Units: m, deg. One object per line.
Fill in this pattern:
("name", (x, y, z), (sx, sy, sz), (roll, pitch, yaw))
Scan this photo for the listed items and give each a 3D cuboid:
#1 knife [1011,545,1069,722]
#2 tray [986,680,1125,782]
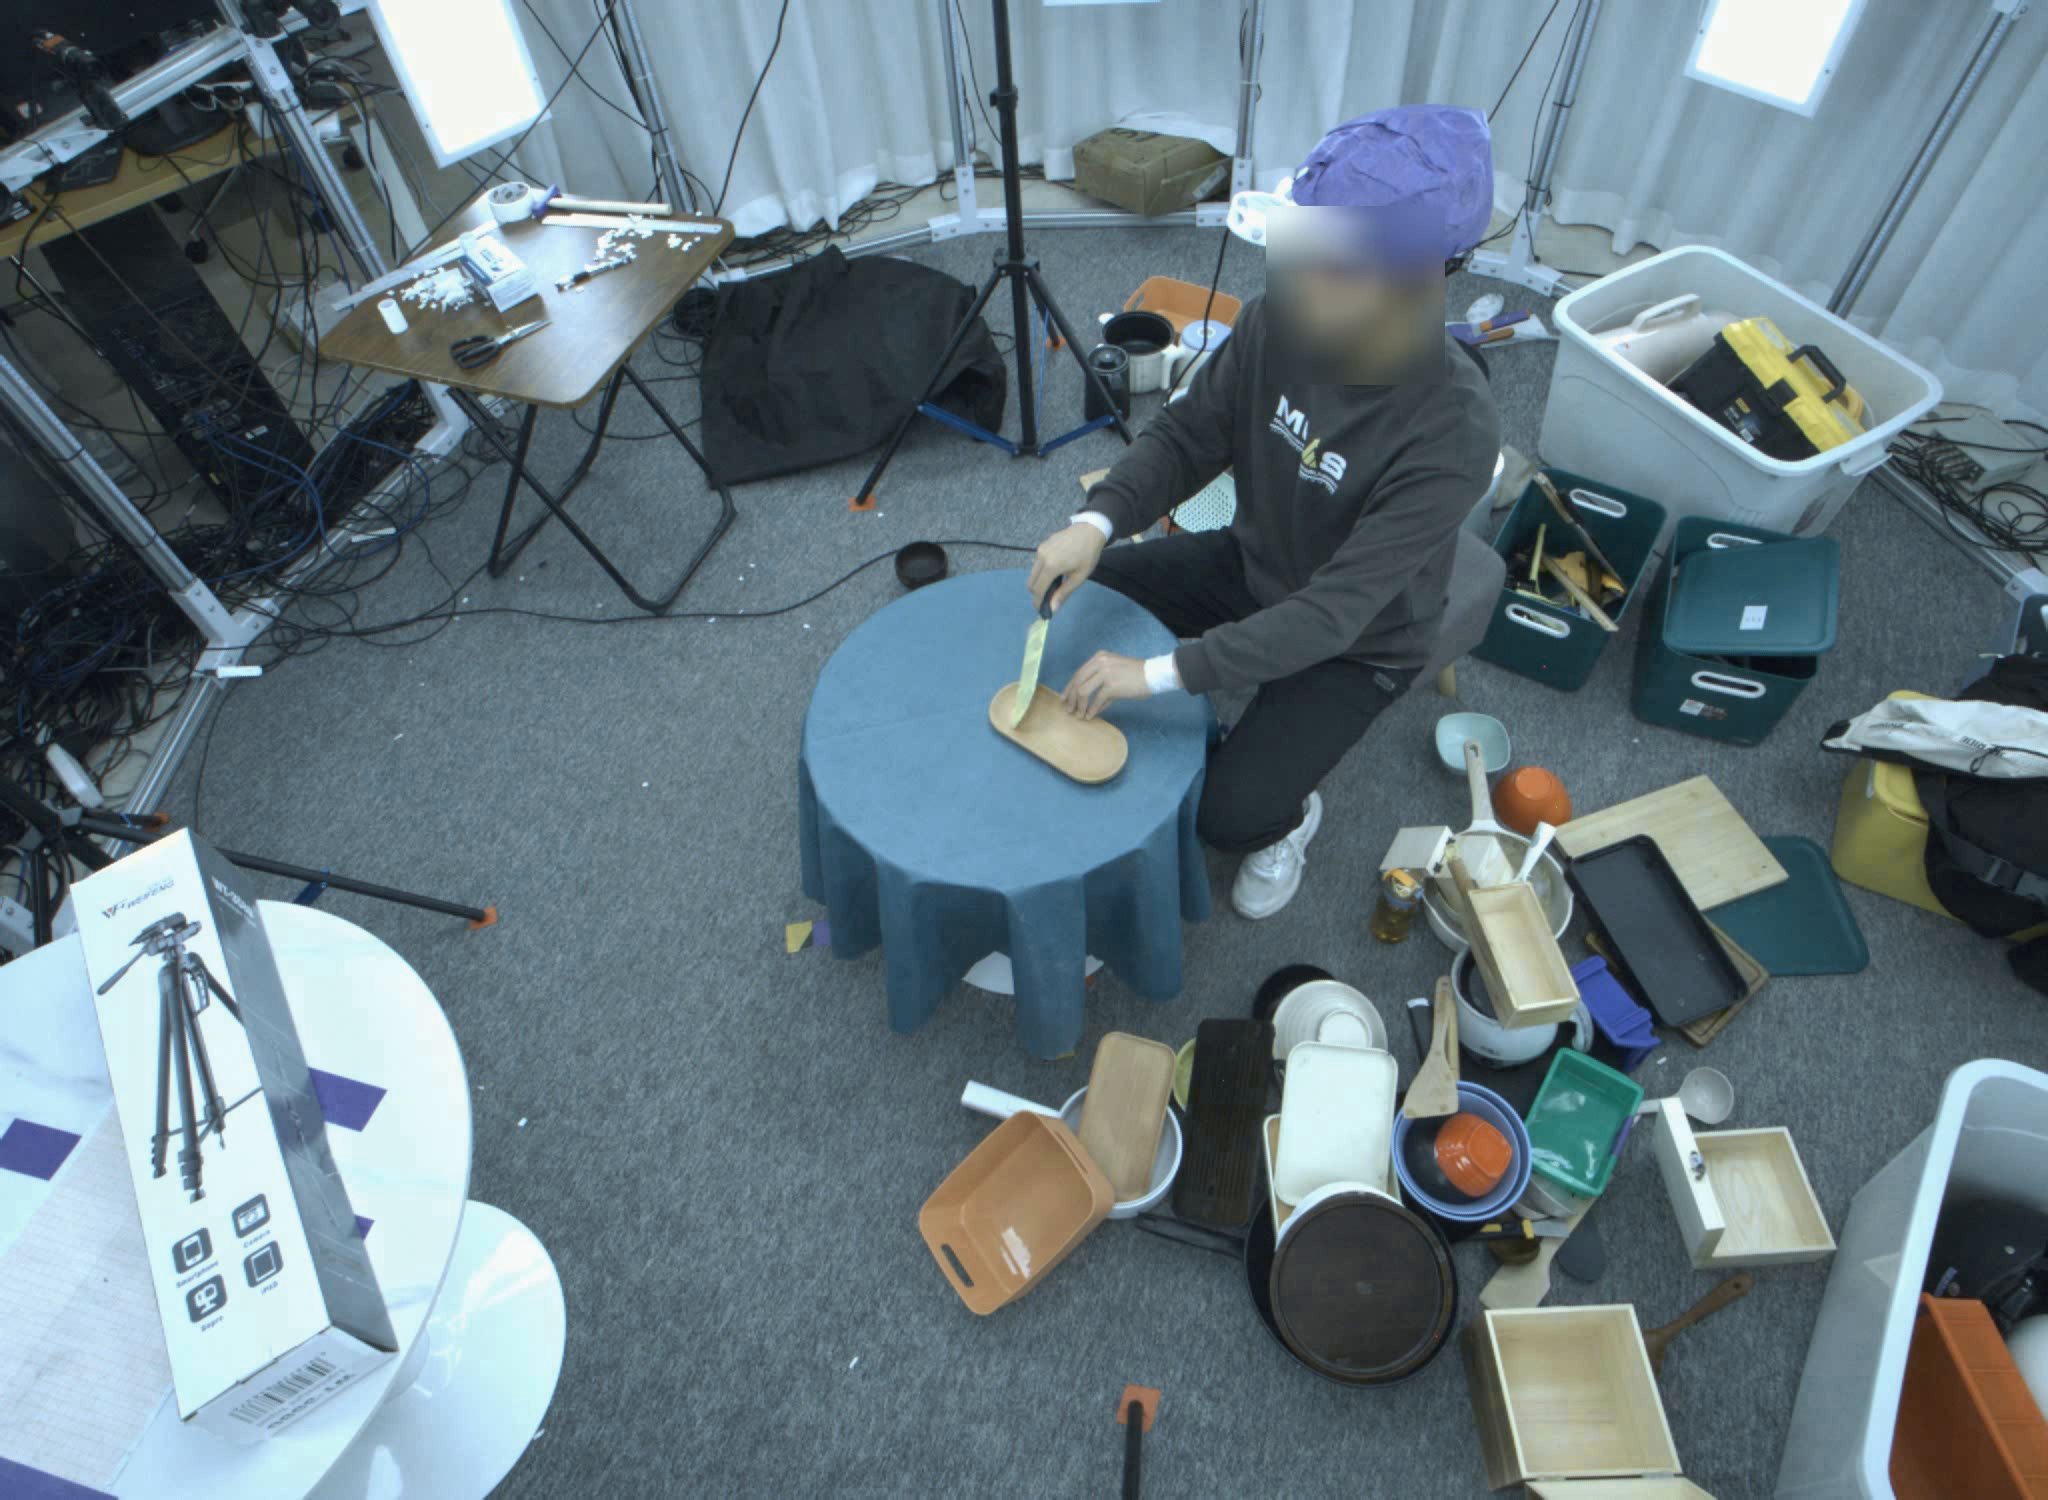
("knife", (0.021, -0.174, 1.831), (0.028, 0.080, 0.288), (21, 72, -21))
("tray", (0.045, -0.029, 1.798), (0.227, 0.020, 0.102), (31, 65, 25))
